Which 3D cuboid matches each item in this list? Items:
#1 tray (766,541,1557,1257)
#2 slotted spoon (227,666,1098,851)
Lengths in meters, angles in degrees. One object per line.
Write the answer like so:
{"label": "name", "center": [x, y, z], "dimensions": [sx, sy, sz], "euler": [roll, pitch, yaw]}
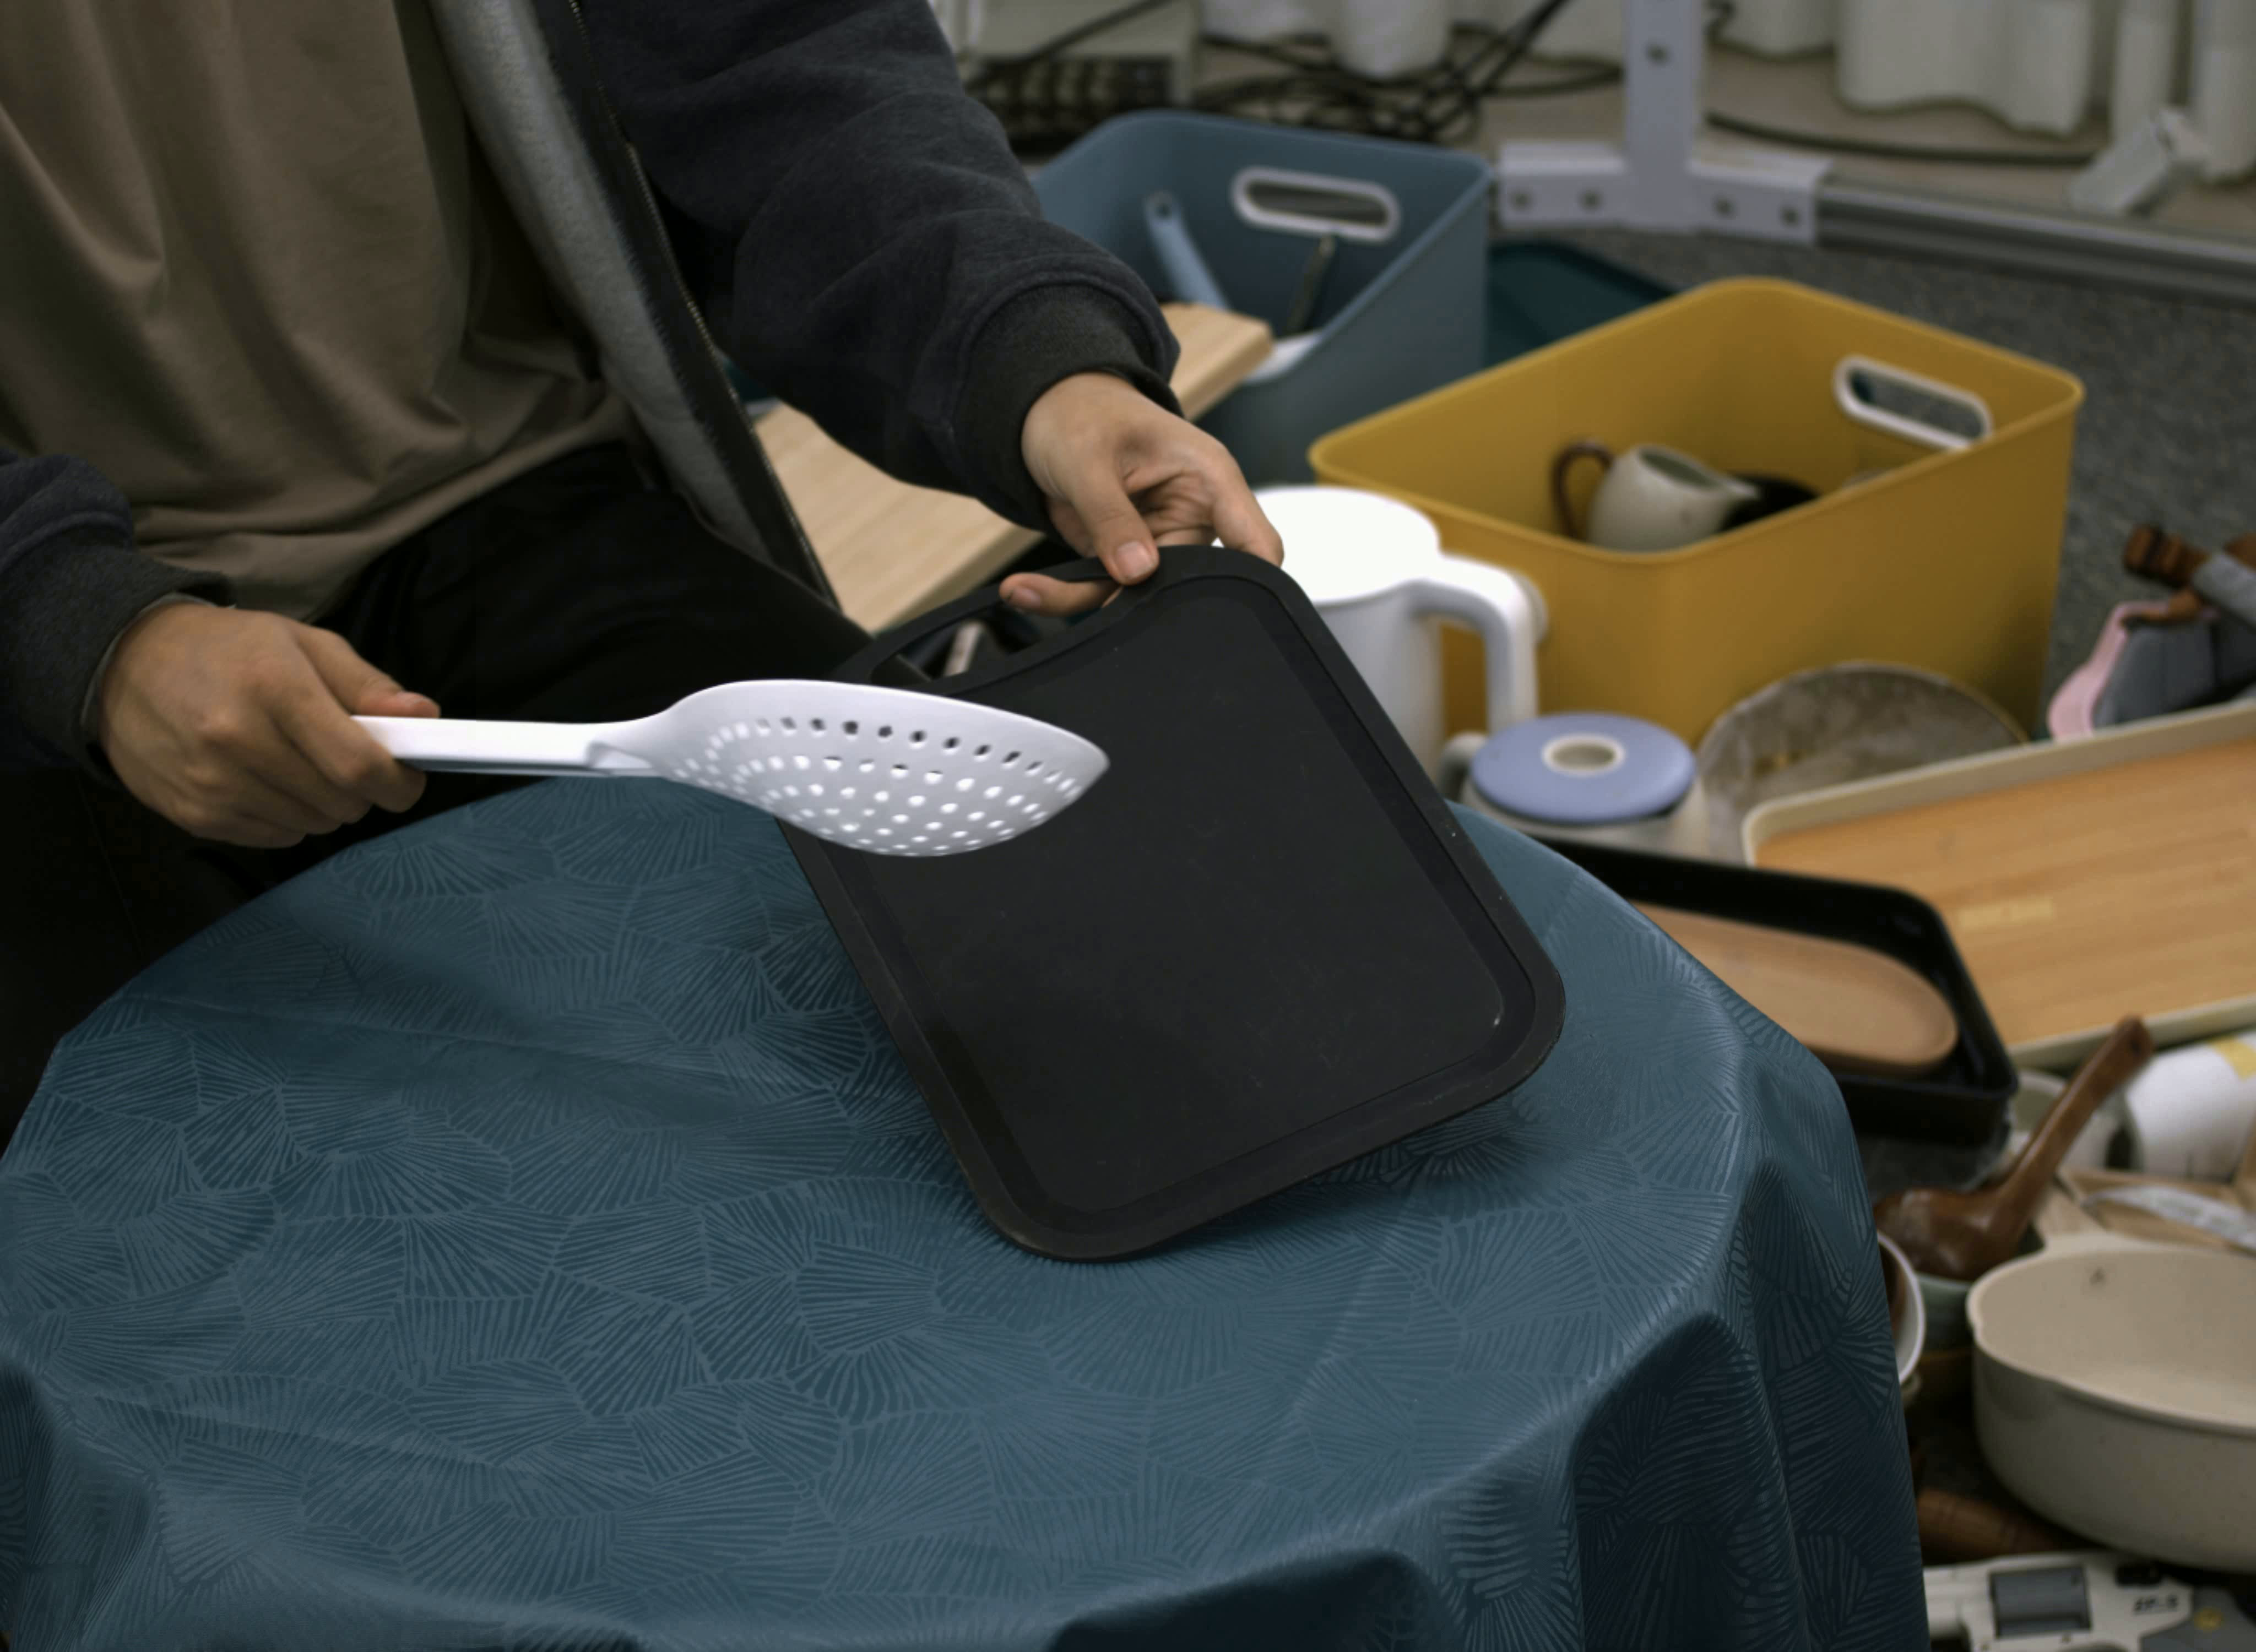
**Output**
{"label": "tray", "center": [0.001, 0.013, 1.946], "dimensions": [0.211, 0.009, 0.329], "euler": [-22, 44, -9]}
{"label": "slotted spoon", "center": [-0.167, -0.027, 1.888], "dimensions": [0.347, 0.046, 0.135], "euler": [6, -11, 34]}
